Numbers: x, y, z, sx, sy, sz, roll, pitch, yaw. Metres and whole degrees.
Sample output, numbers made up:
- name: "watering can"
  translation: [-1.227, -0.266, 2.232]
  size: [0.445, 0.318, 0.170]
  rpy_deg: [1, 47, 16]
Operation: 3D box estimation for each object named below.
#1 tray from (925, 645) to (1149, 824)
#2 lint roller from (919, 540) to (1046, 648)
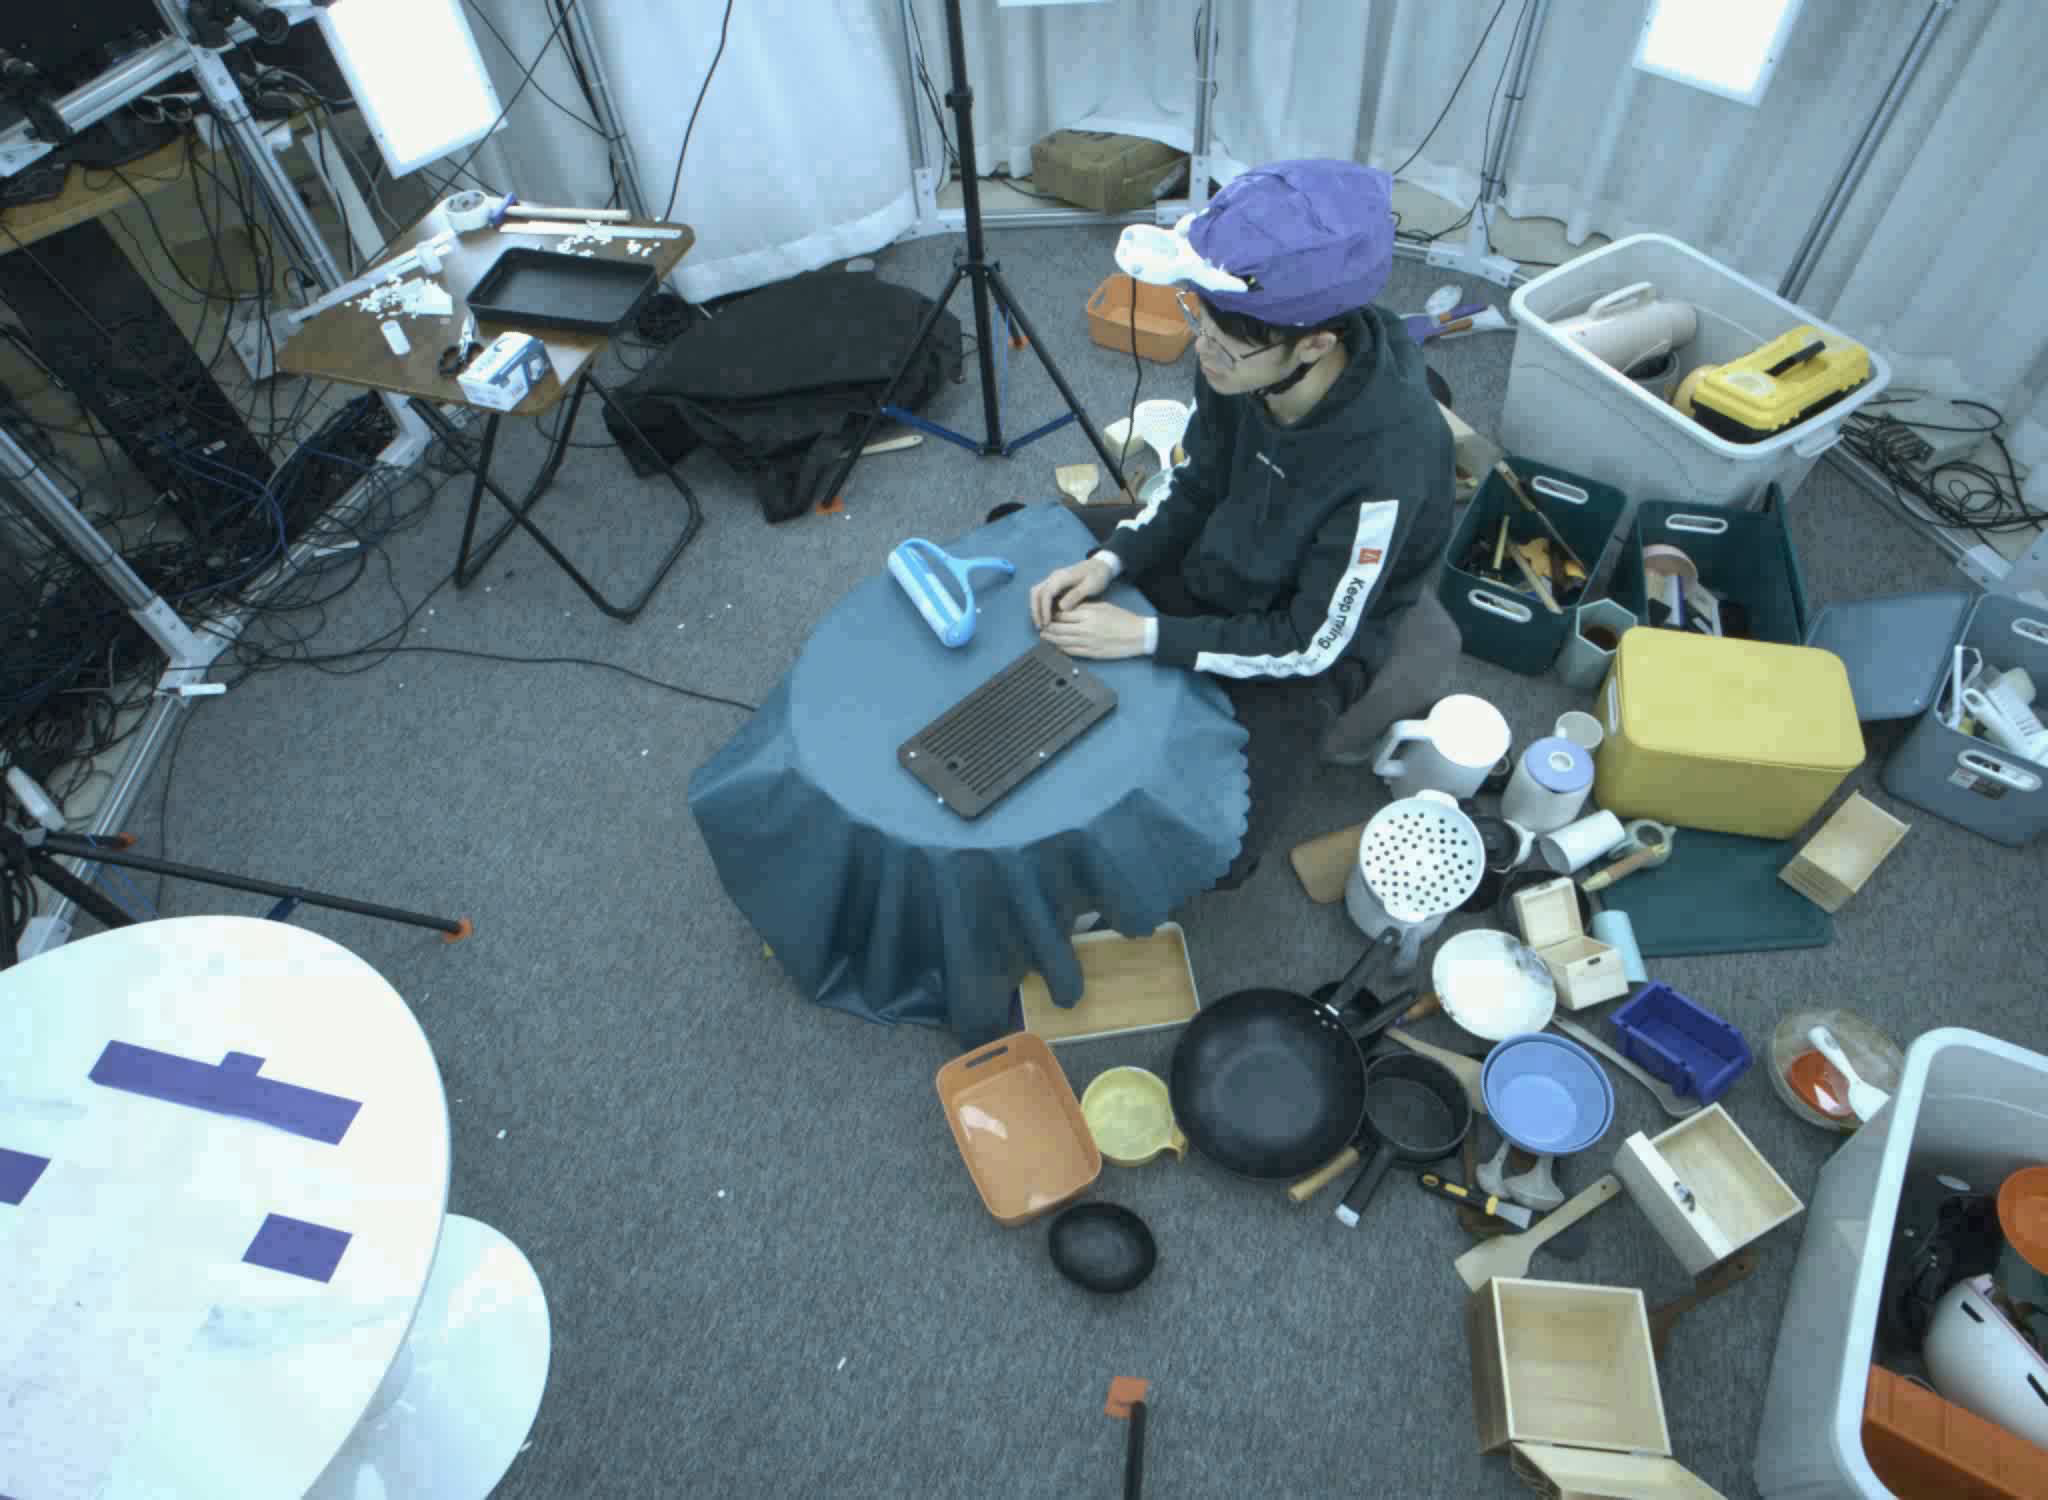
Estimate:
- name: "tray"
  translation: [0.021, -0.026, 1.790]
  size: [0.308, 0.019, 0.167]
  rpy_deg: [-37, 61, -22]
- name: "lint roller"
  translation: [-0.050, -0.270, 1.941]
  size: [0.181, 0.069, 0.224]
  rpy_deg: [-28, 56, -15]
